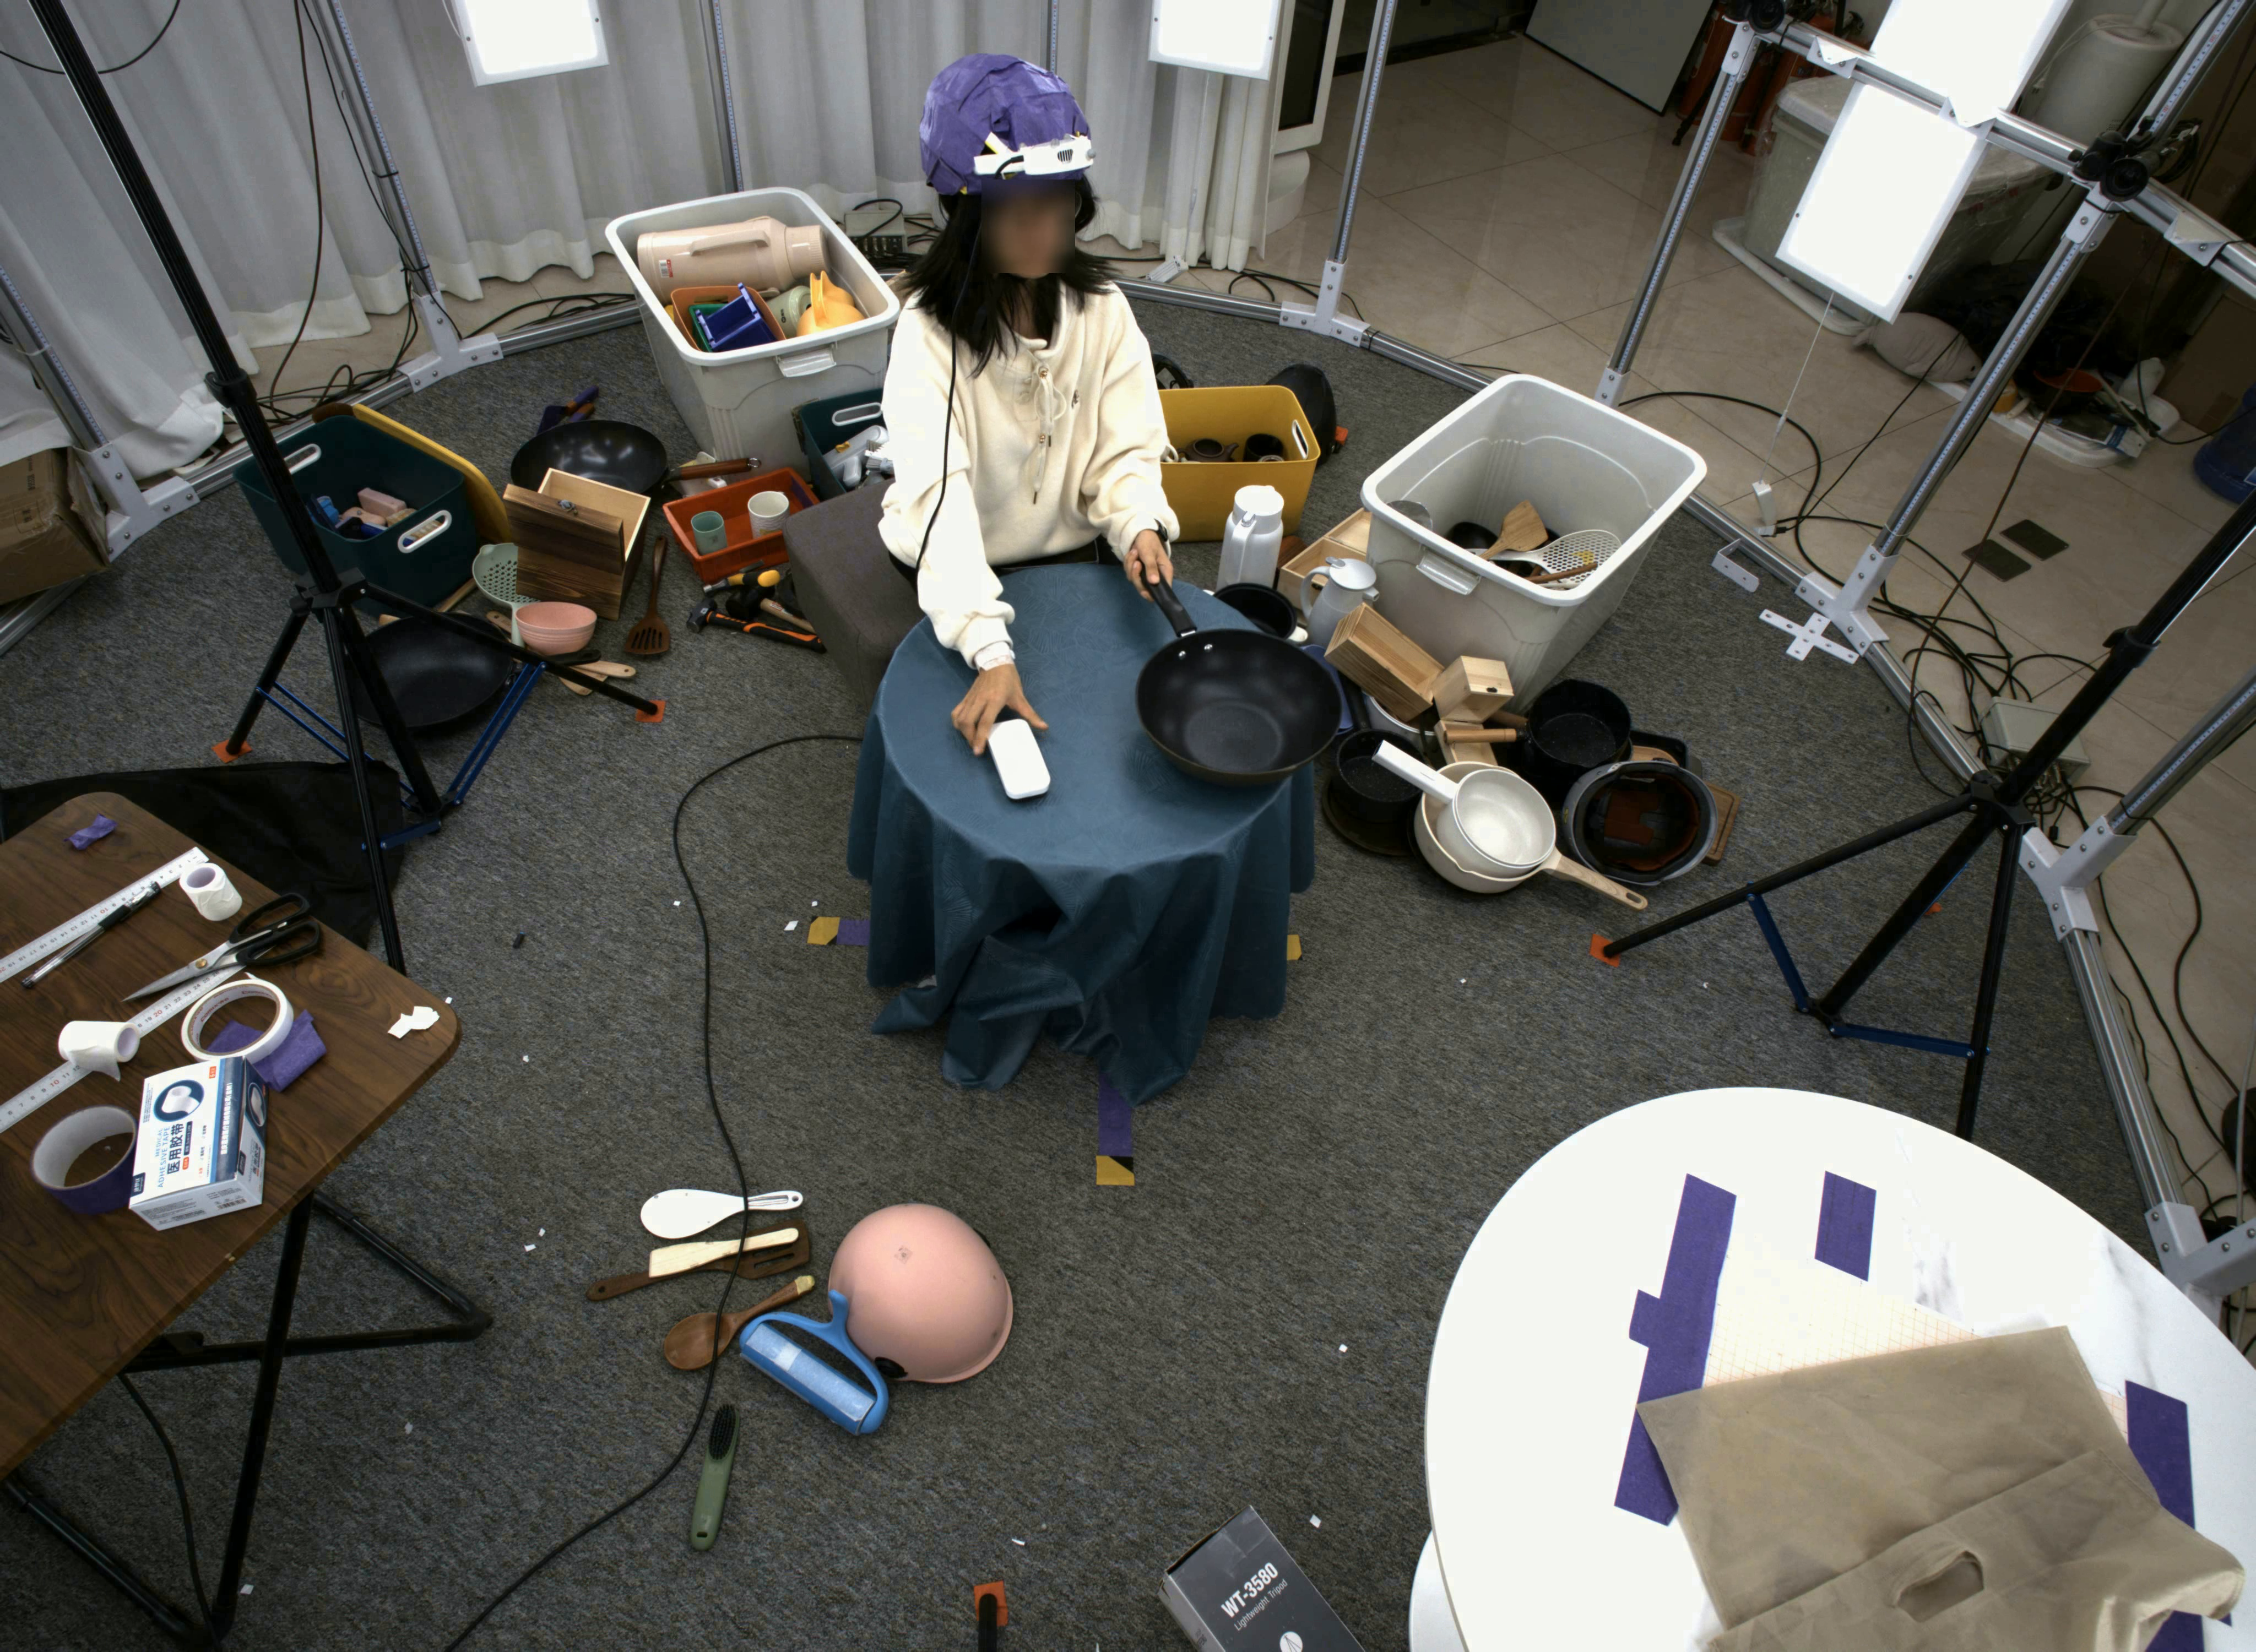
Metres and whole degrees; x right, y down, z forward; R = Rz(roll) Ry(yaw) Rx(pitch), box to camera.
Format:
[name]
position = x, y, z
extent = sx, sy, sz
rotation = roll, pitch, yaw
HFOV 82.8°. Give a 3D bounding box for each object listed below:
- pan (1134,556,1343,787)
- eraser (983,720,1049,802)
[pan]
position = 0.108, -0.213, 1.808
extent = 0.288, 0.085, 0.474
rotation = -17, 51, -18
[eraser]
position = -0.150, -0.090, 1.719
extent = 0.063, 0.034, 0.134
rotation = -11, 51, -17
